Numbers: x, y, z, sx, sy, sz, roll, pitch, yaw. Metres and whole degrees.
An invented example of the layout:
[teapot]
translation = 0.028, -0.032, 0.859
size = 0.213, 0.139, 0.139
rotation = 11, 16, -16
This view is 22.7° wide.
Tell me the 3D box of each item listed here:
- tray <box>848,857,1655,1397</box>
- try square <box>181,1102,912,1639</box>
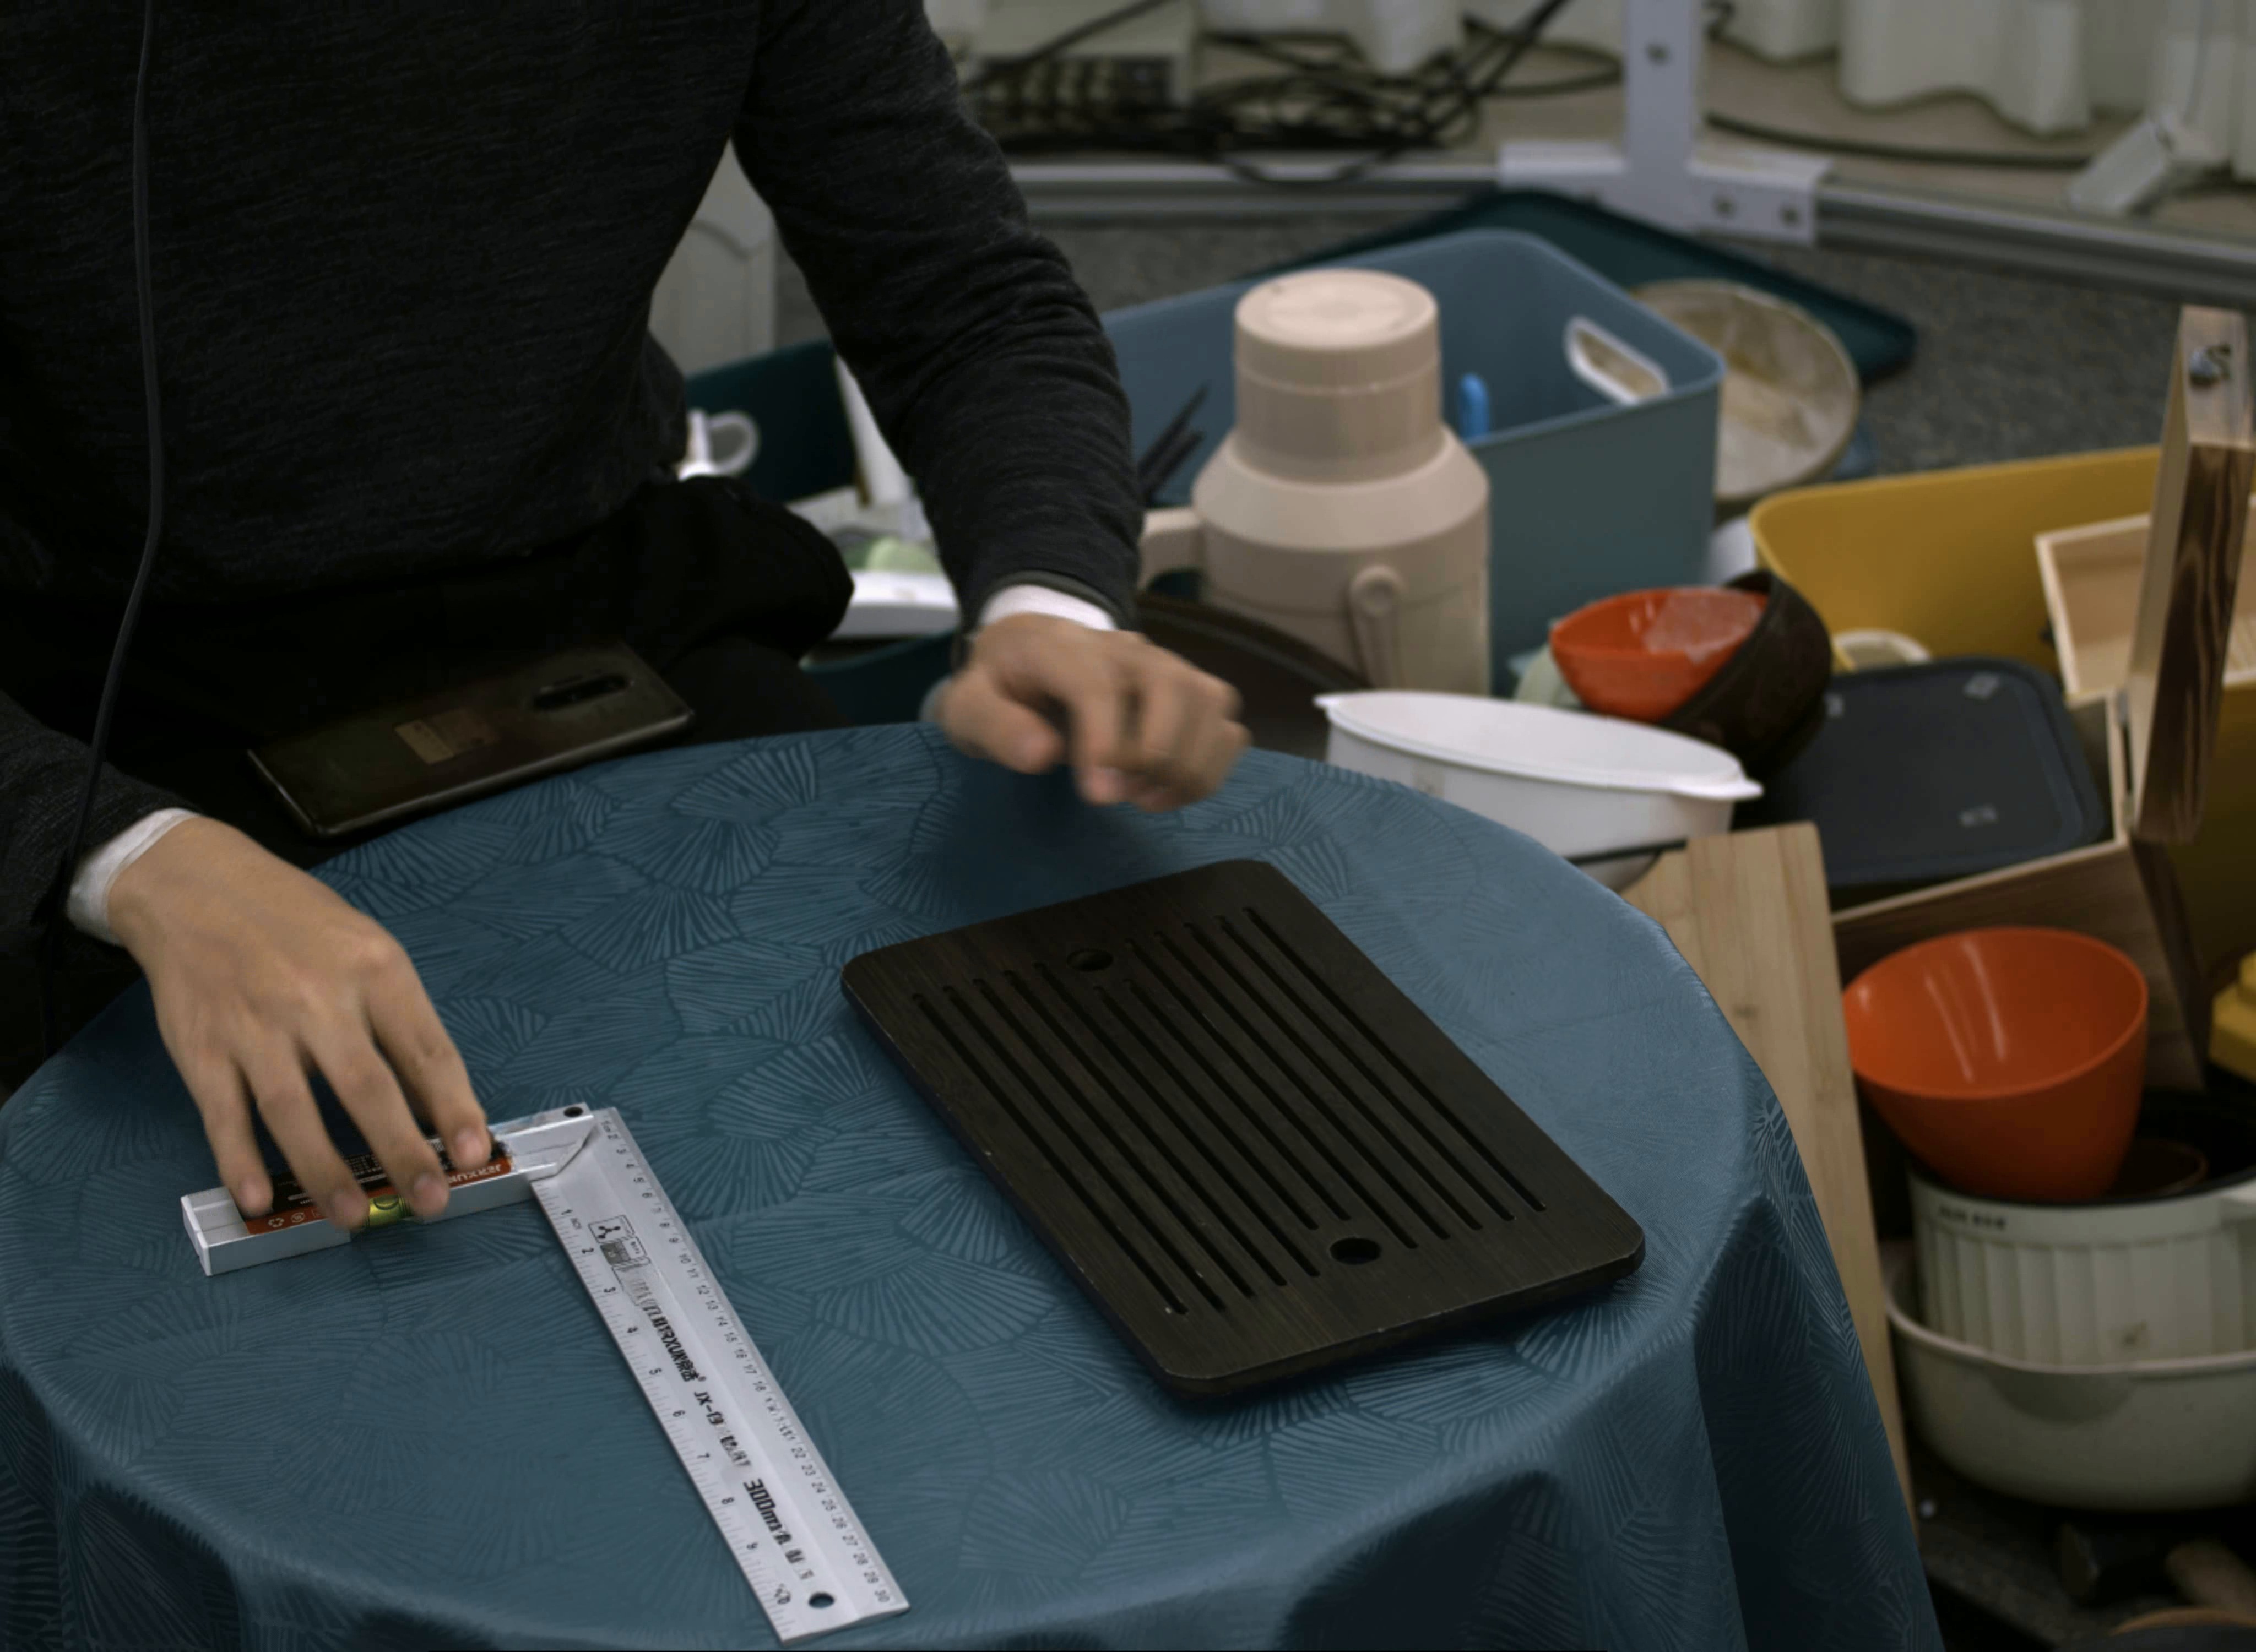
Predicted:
[tray]
translation = 0.035, 0.097, 1.885
size = 0.171, 0.018, 0.308
rotation = -14, 29, -19
[try square]
translation = -0.189, 0.178, 1.761
size = 0.152, 0.016, 0.315
rotation = -12, 30, -17
